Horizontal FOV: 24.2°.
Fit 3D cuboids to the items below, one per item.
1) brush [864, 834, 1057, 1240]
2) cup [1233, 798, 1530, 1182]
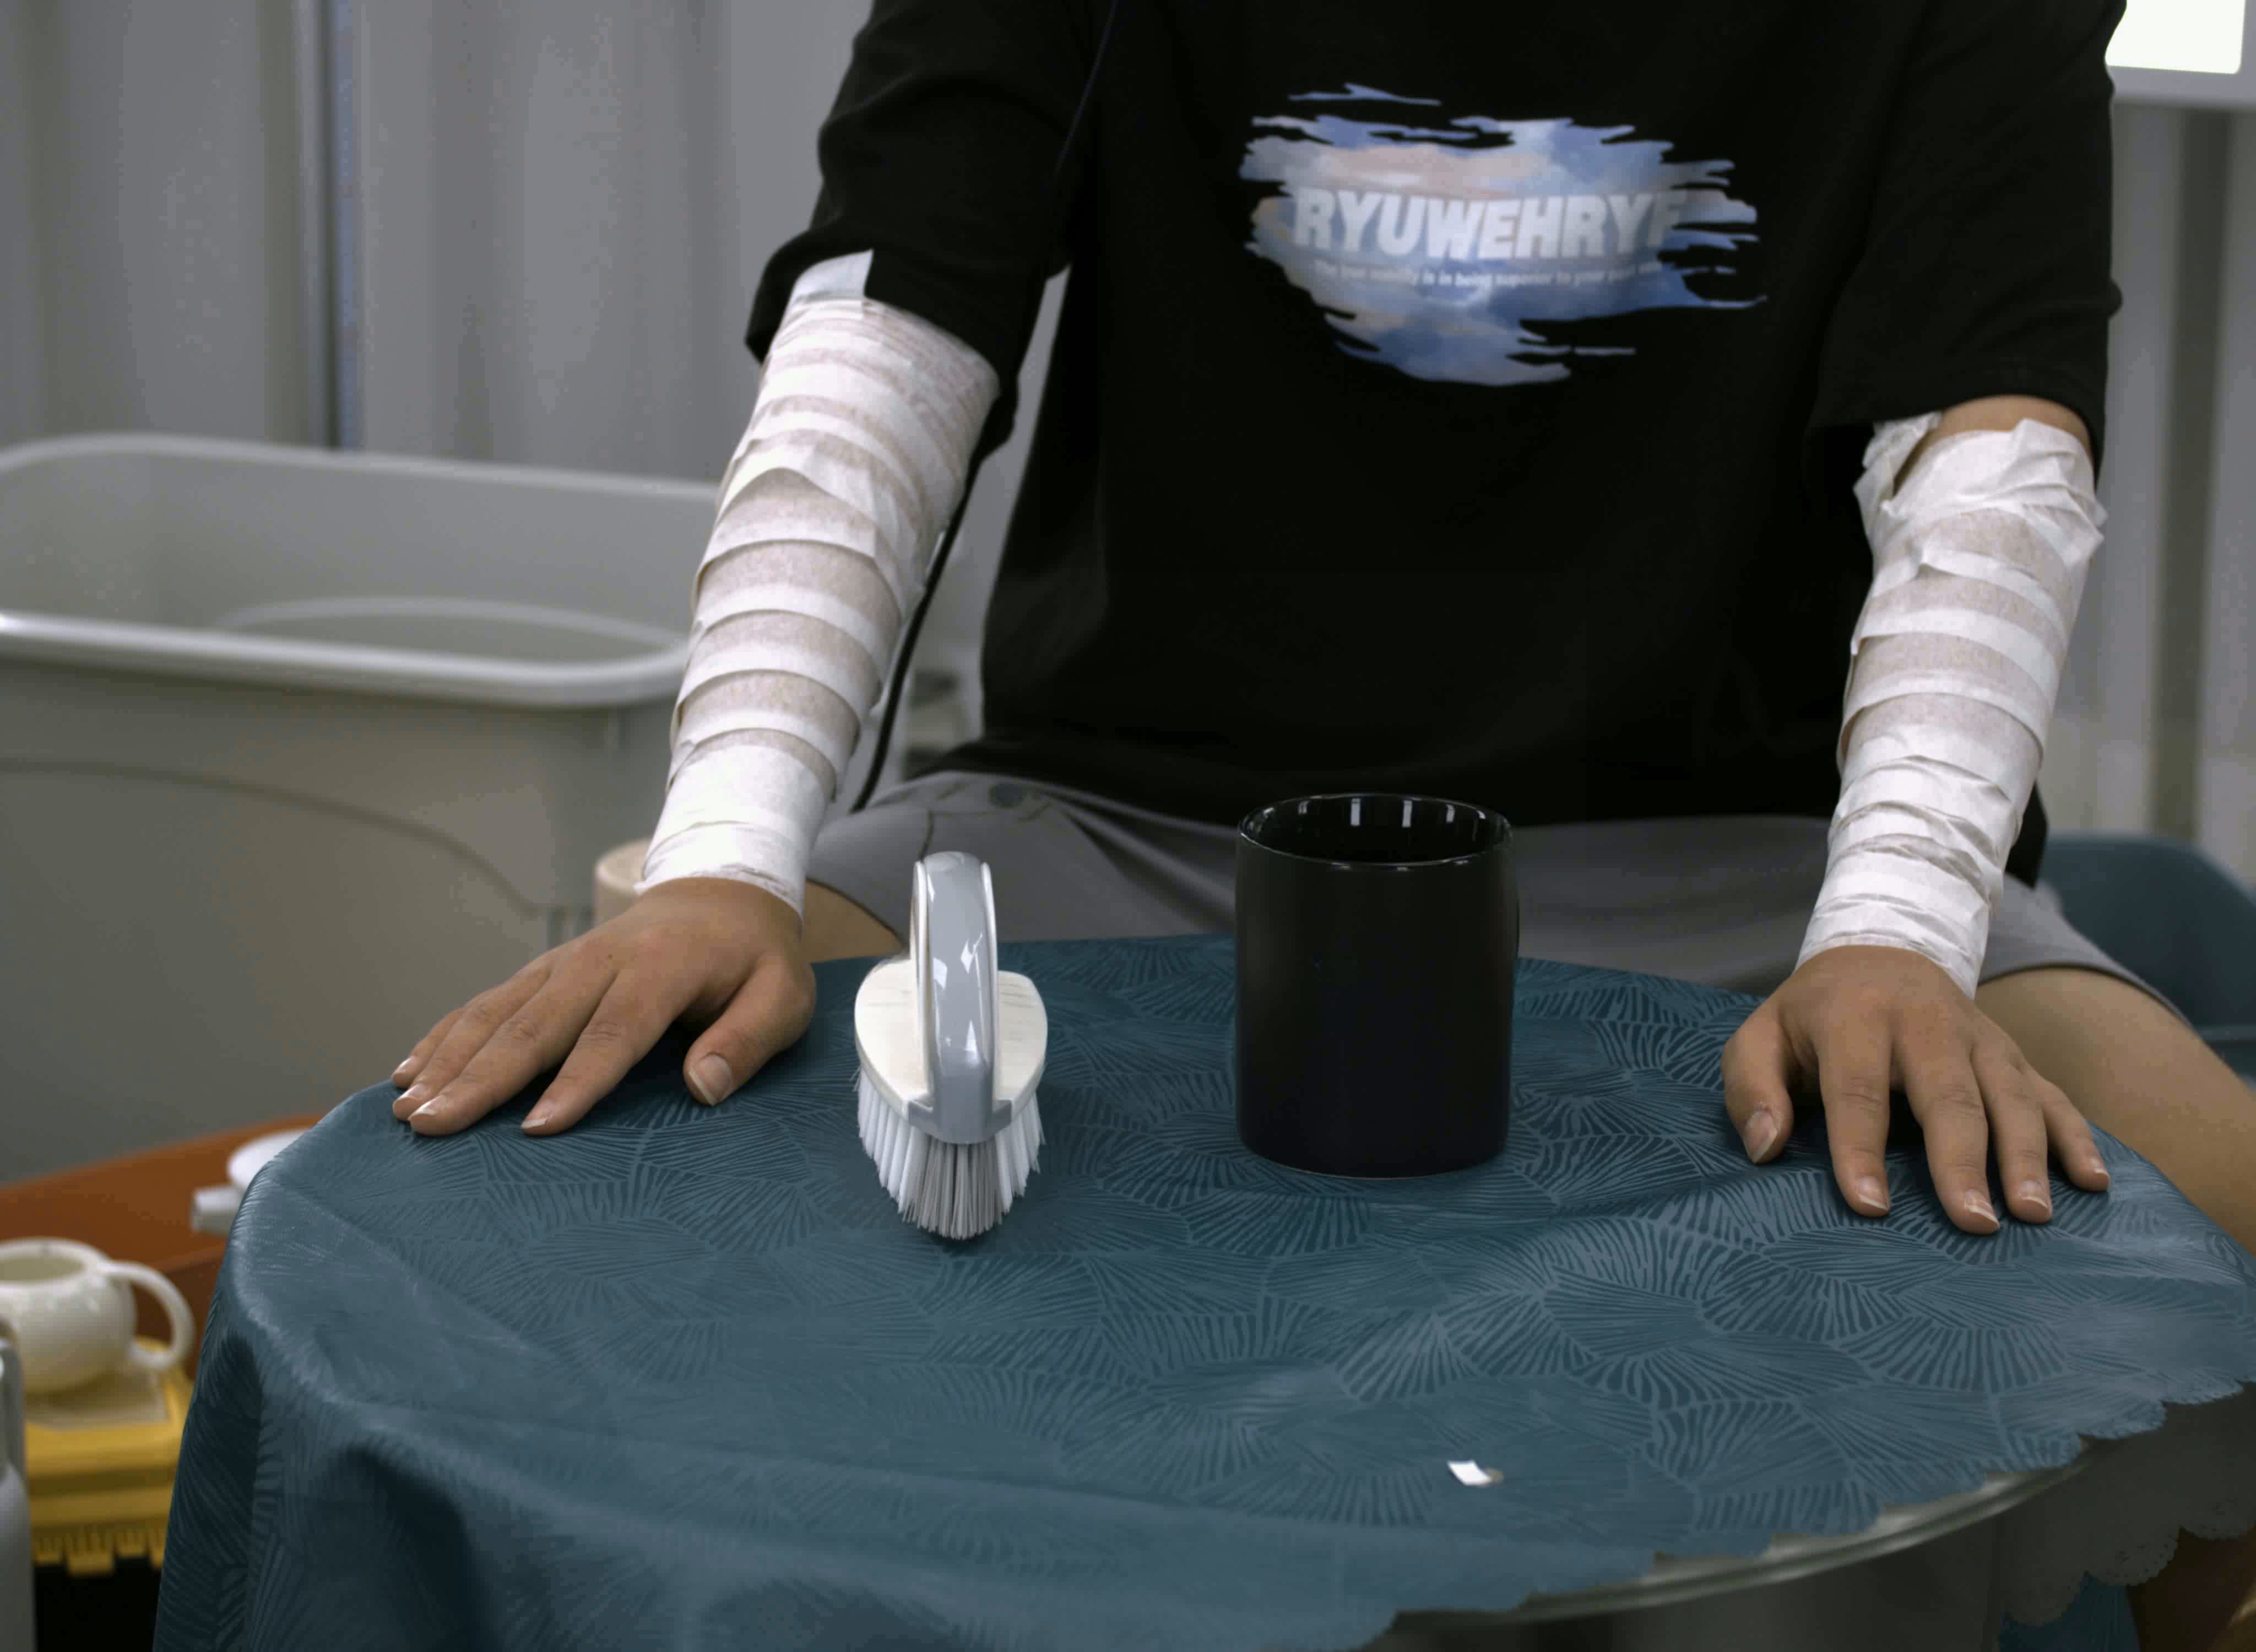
[{"bbox_3d":[-0.052,0.060,1.641,0.061,0.095,0.174,-2,18,-2],"label":"brush"},{"bbox_3d":[0.089,0.047,1.675,0.087,0.106,0.124,6,15,36],"label":"cup"}]
